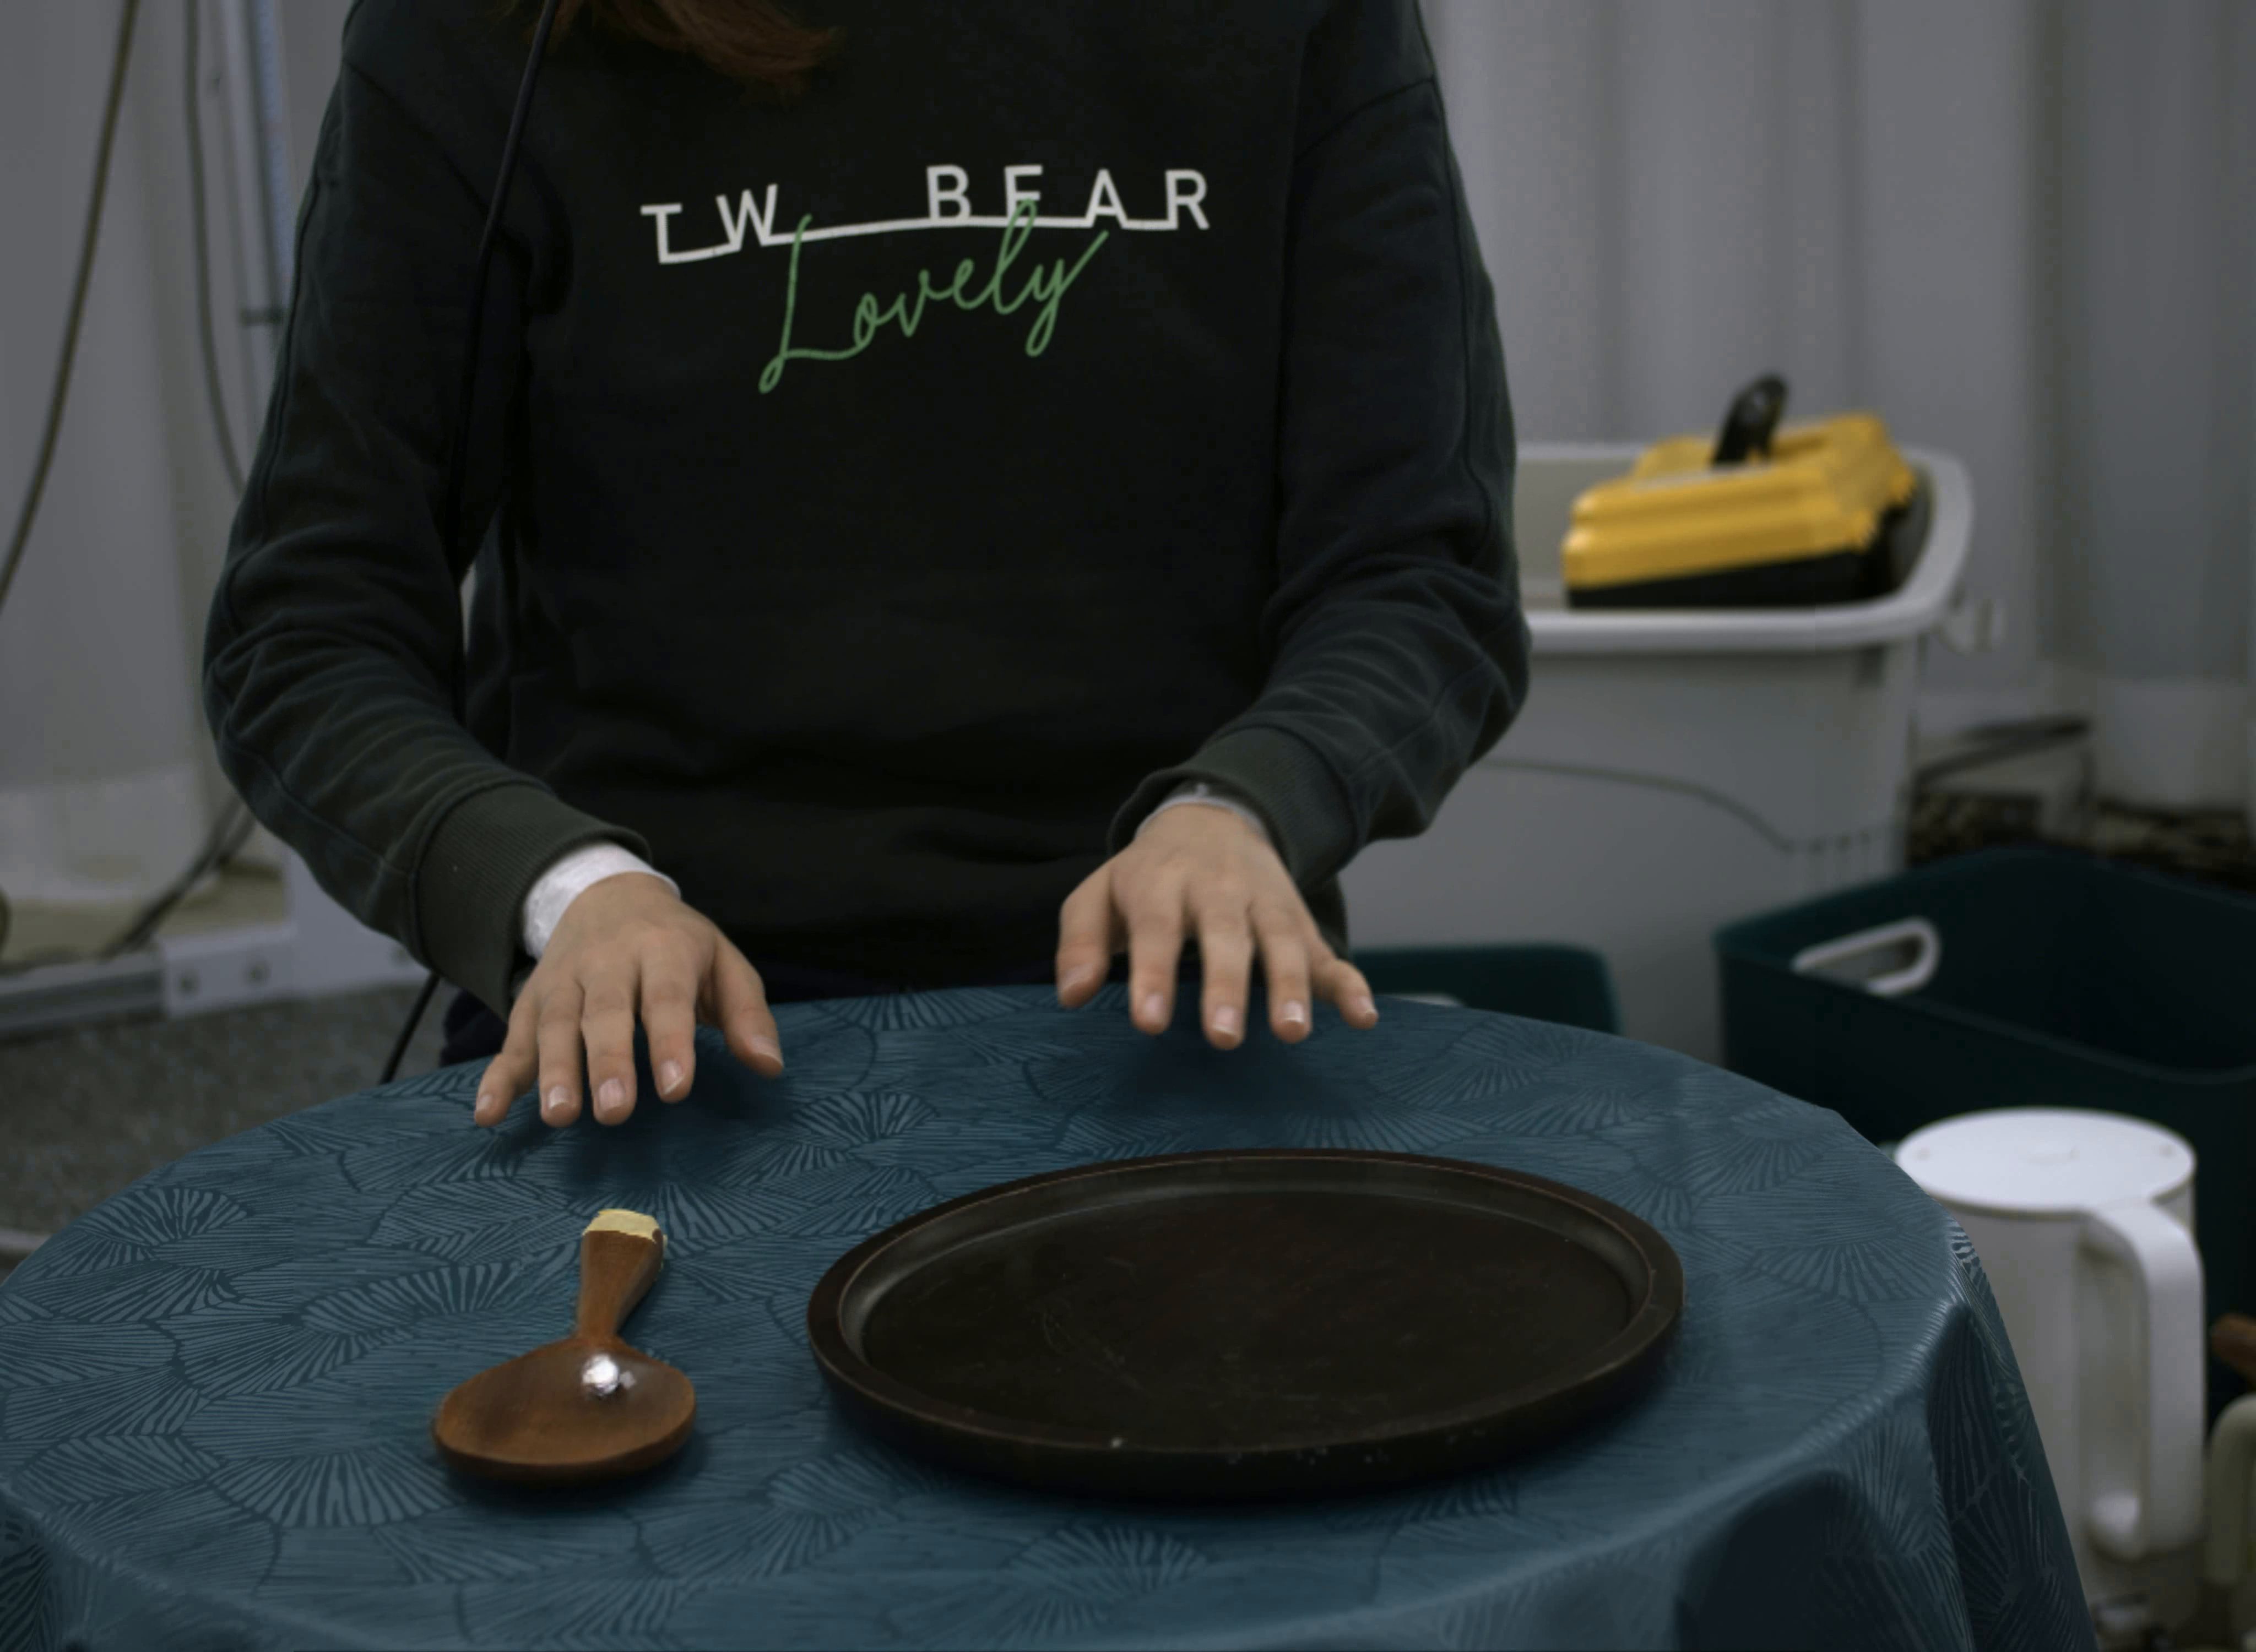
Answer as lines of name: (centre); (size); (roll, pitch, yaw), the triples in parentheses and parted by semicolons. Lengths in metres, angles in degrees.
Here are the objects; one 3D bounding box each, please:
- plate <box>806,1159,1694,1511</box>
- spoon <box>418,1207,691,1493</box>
plate: (0.034, 0.142, 1.562); (0.254, 0.029, 0.256); (-2, 16, 0)
spoon: (-0.158, 0.152, 1.576); (0.075, 0.017, 0.217); (-3, 15, 1)
